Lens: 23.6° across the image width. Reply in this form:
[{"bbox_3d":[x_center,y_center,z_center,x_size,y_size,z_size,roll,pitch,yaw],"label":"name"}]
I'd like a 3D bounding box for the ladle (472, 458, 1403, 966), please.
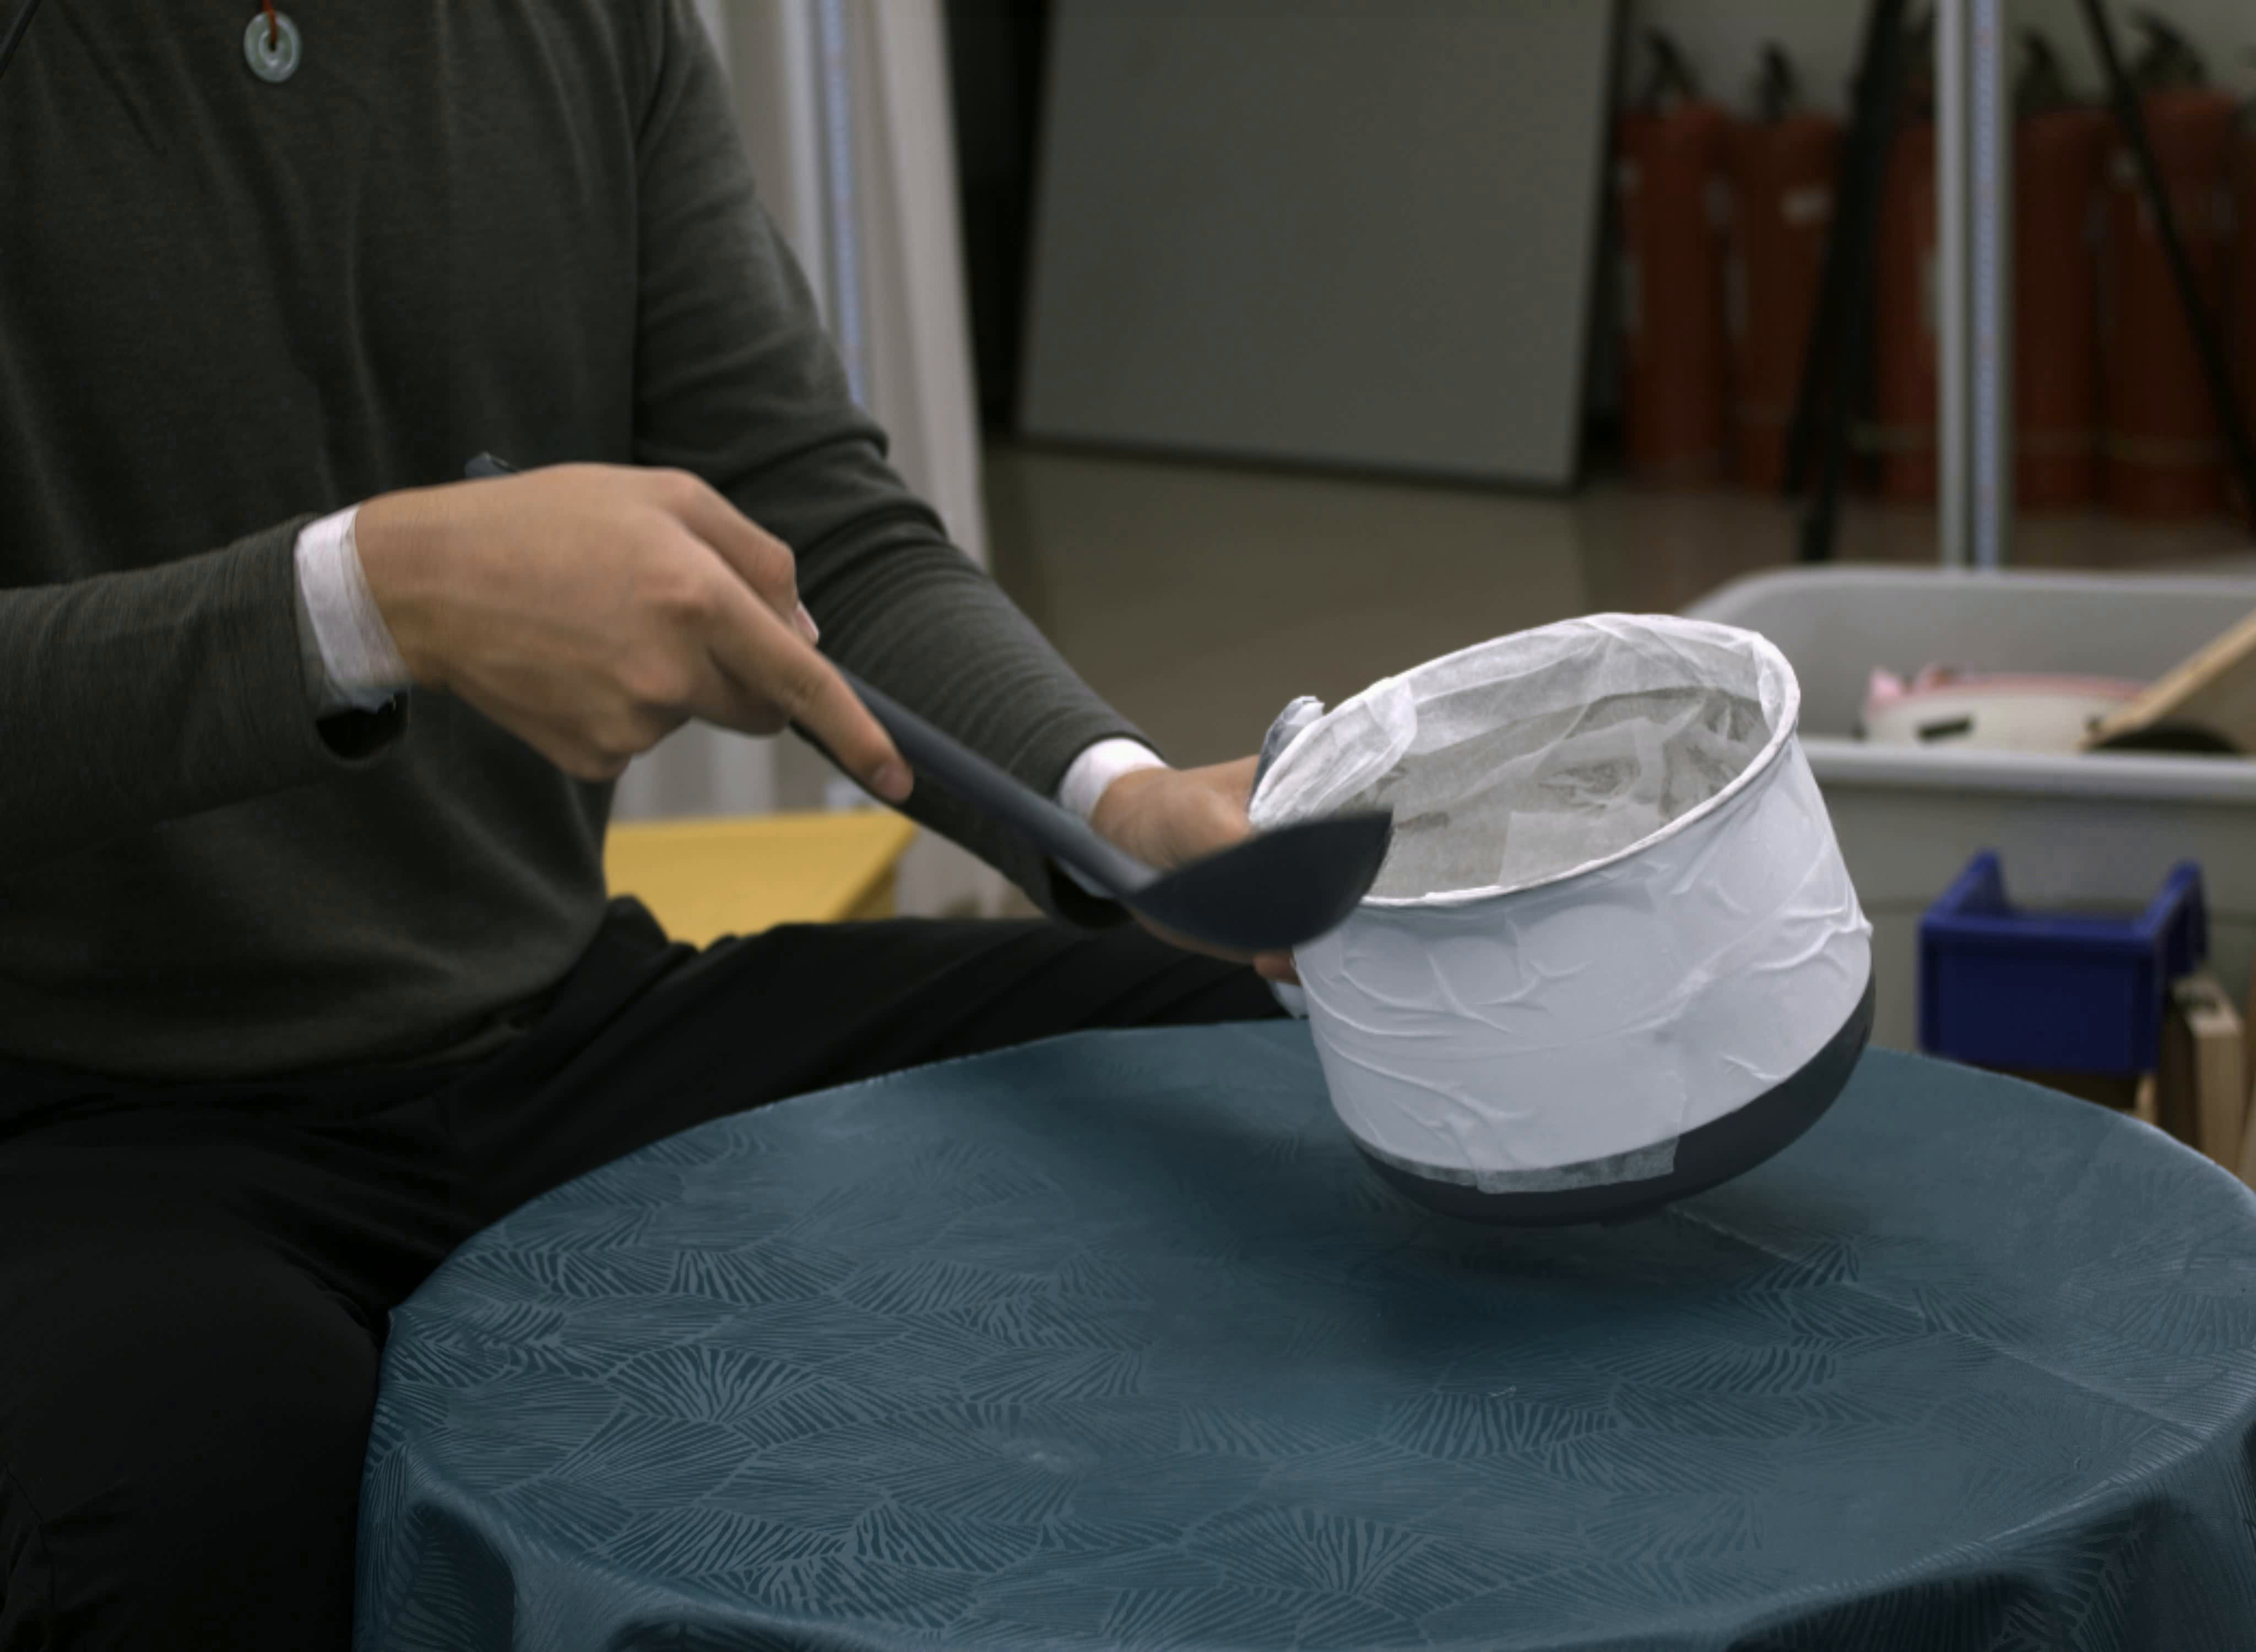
[{"bbox_3d":[-0.061,-0.050,1.573,0.315,0.064,0.085,32,12,21],"label":"ladle"}]

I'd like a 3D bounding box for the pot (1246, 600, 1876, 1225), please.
[{"bbox_3d":[0.120,0.026,1.695,0.176,0.137,0.236,-35,28,-32],"label":"pot"}]
